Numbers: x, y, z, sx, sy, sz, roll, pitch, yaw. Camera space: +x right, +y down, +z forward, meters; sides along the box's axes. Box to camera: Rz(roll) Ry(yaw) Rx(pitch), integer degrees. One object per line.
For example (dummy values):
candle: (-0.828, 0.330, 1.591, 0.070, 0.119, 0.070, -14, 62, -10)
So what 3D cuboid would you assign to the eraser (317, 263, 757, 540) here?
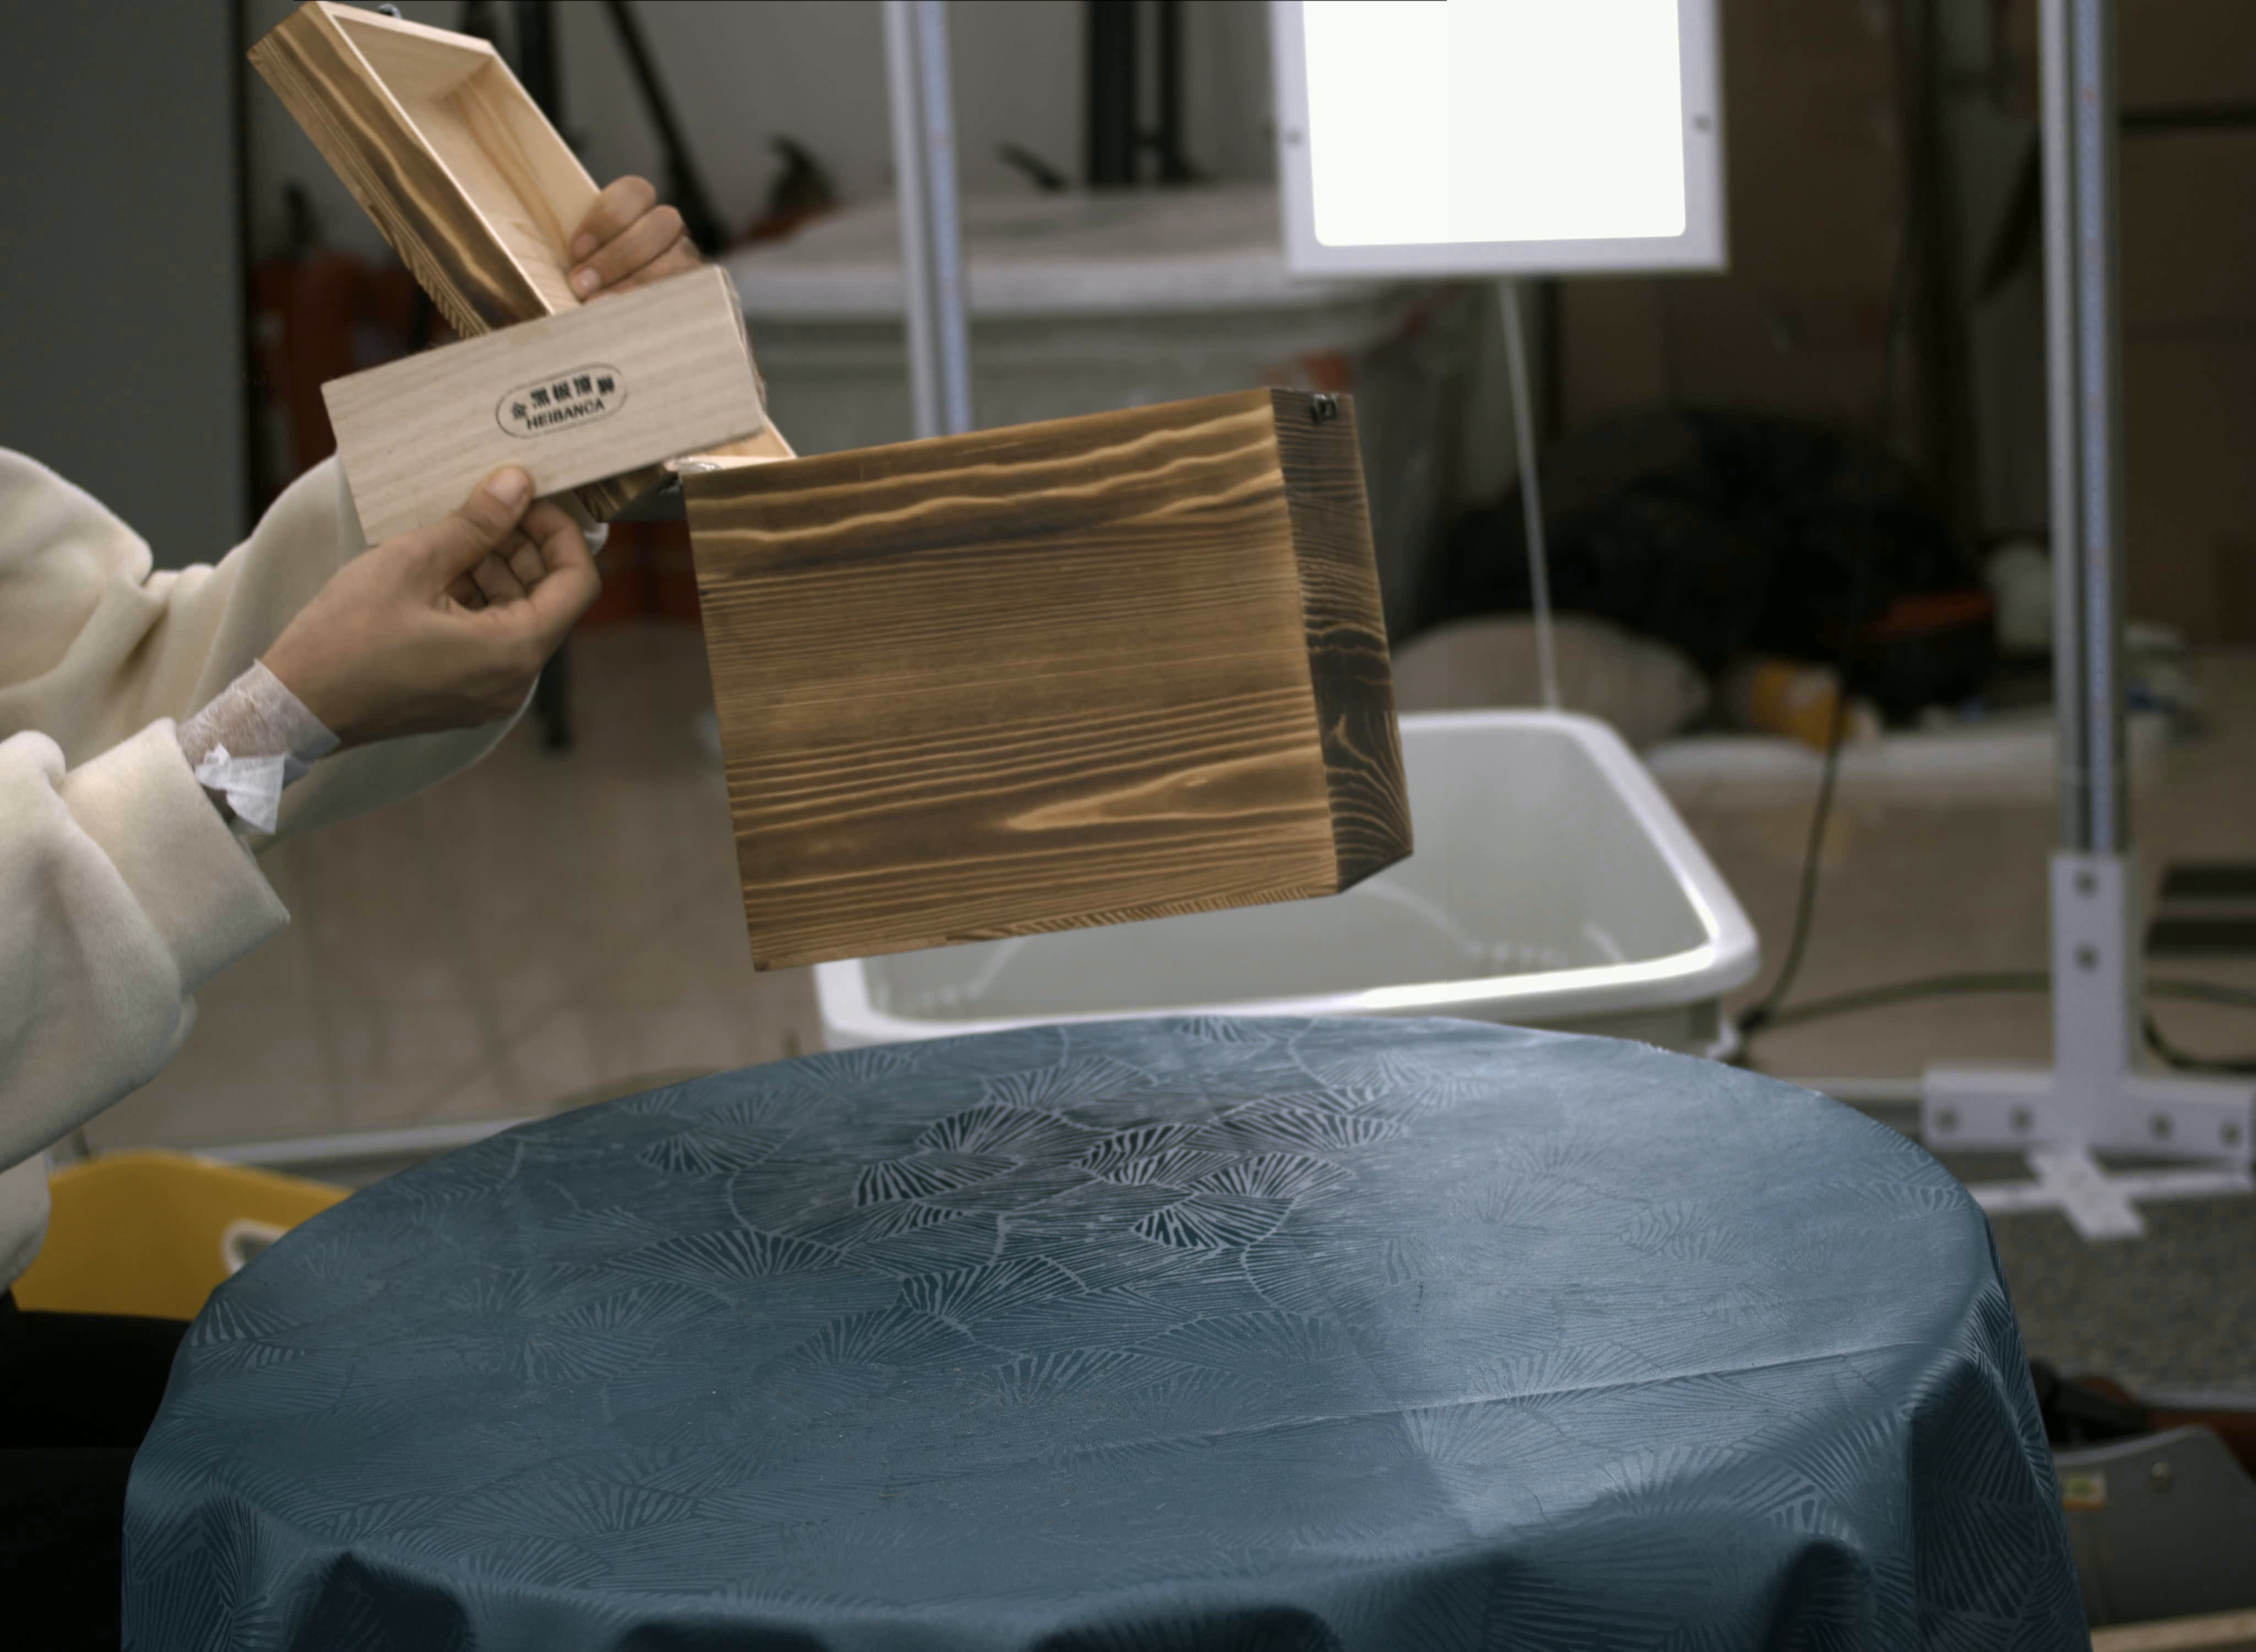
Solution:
eraser: (-0.193, -0.141, 1.824, 0.140, 0.057, 0.028, -16, 1, 12)

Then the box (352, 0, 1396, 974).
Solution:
box: (-0.084, -0.143, 1.912, 0.324, 0.376, 0.206, -7, 3, 11)
